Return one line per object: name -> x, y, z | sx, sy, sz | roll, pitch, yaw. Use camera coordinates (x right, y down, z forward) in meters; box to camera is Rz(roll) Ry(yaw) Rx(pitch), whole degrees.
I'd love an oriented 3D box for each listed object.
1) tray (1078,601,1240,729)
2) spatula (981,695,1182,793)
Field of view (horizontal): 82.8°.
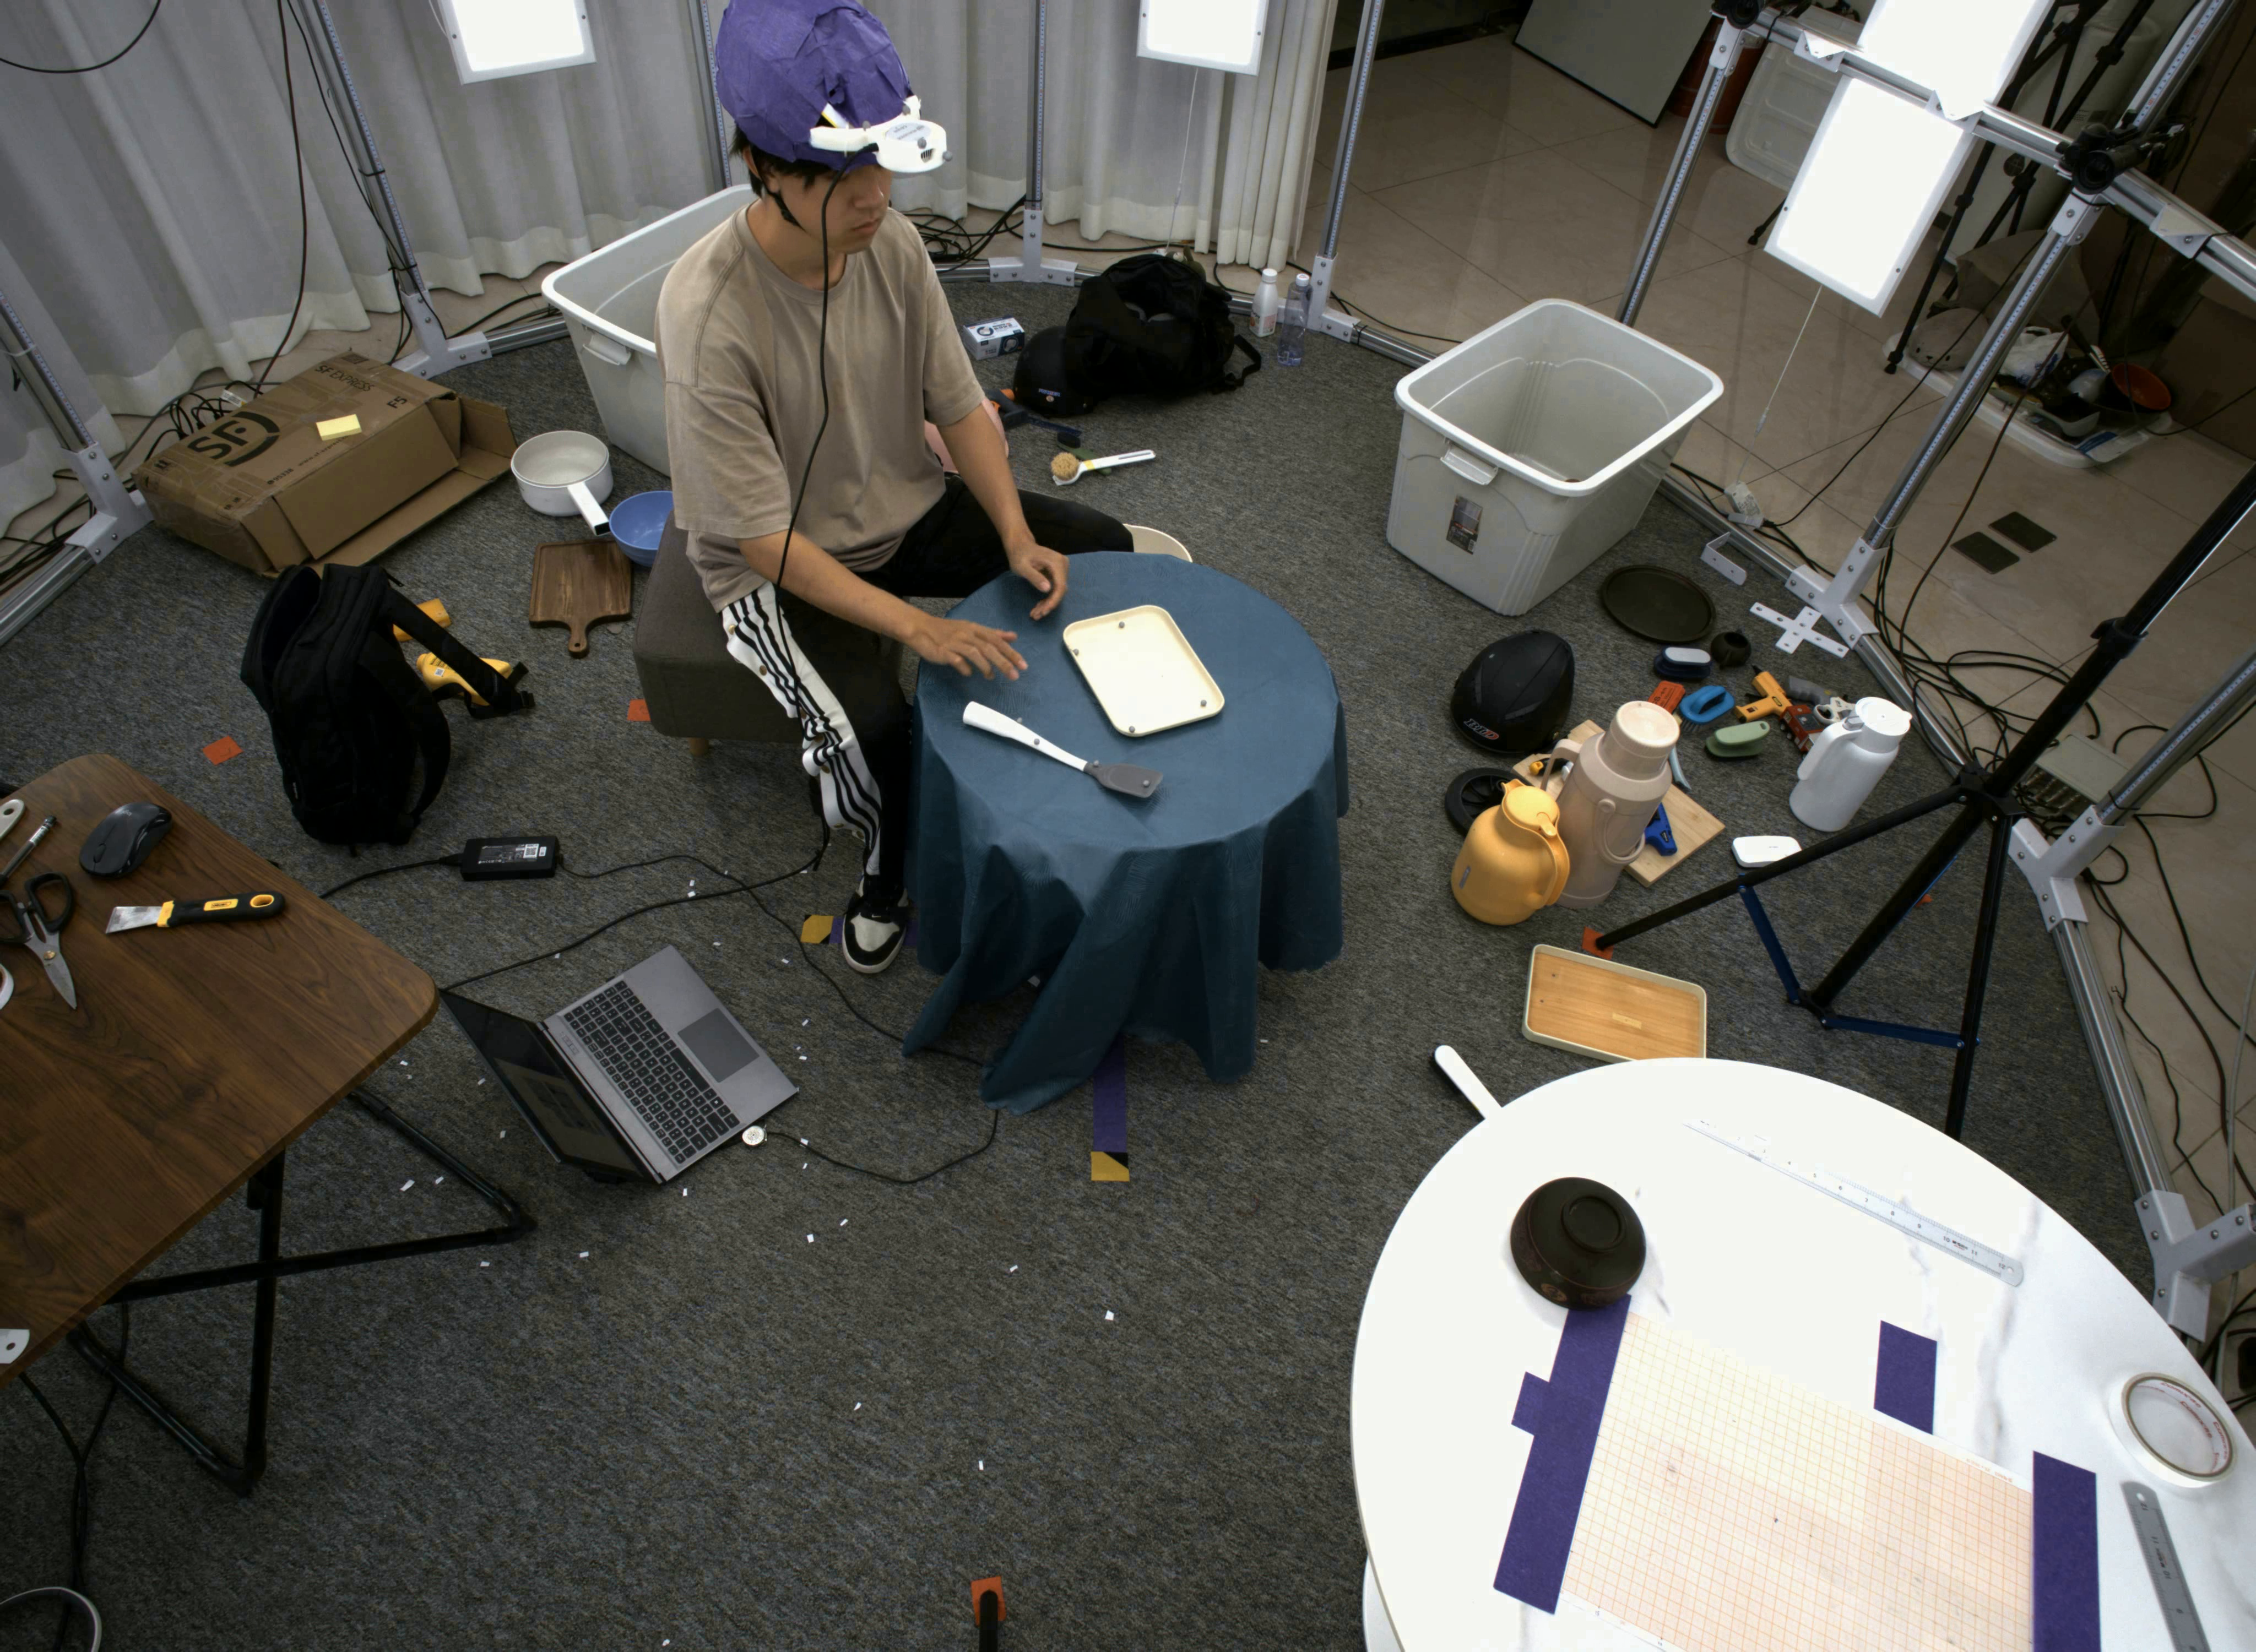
tray -> 0.042, -0.233, 1.849 | 0.171, 0.017, 0.245 | -15, 52, -19
spatula -> -0.065, -0.110, 1.718 | 0.289, 0.031, 0.059 | 23, 47, 15
